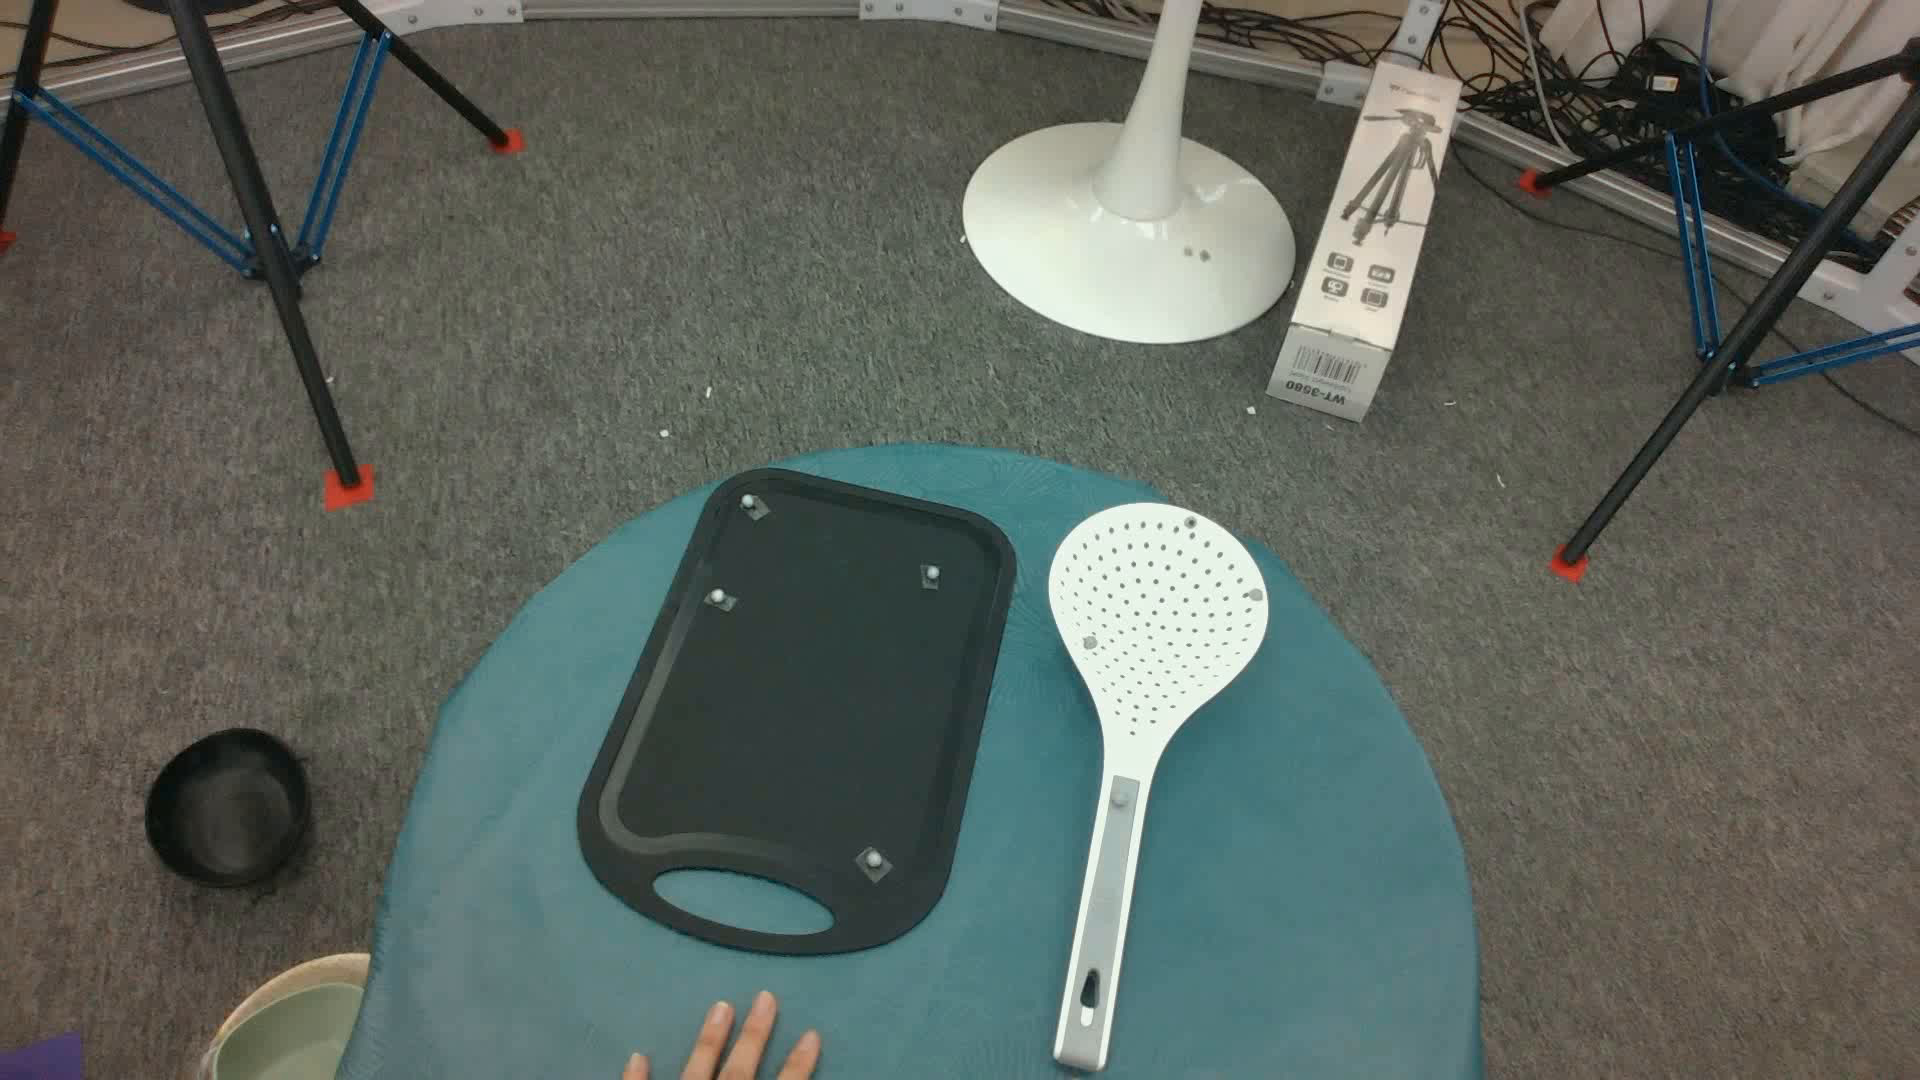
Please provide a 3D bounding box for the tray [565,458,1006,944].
[{"bbox_3d":[-0.095,0.082,0.822,0.211,0.010,0.327,13,52,2],"label":"tray"}]

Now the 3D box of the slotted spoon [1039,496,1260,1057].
[{"bbox_3d":[0.093,0.120,0.796,0.136,0.045,0.351,13,52,4],"label":"slotted spoon"}]
